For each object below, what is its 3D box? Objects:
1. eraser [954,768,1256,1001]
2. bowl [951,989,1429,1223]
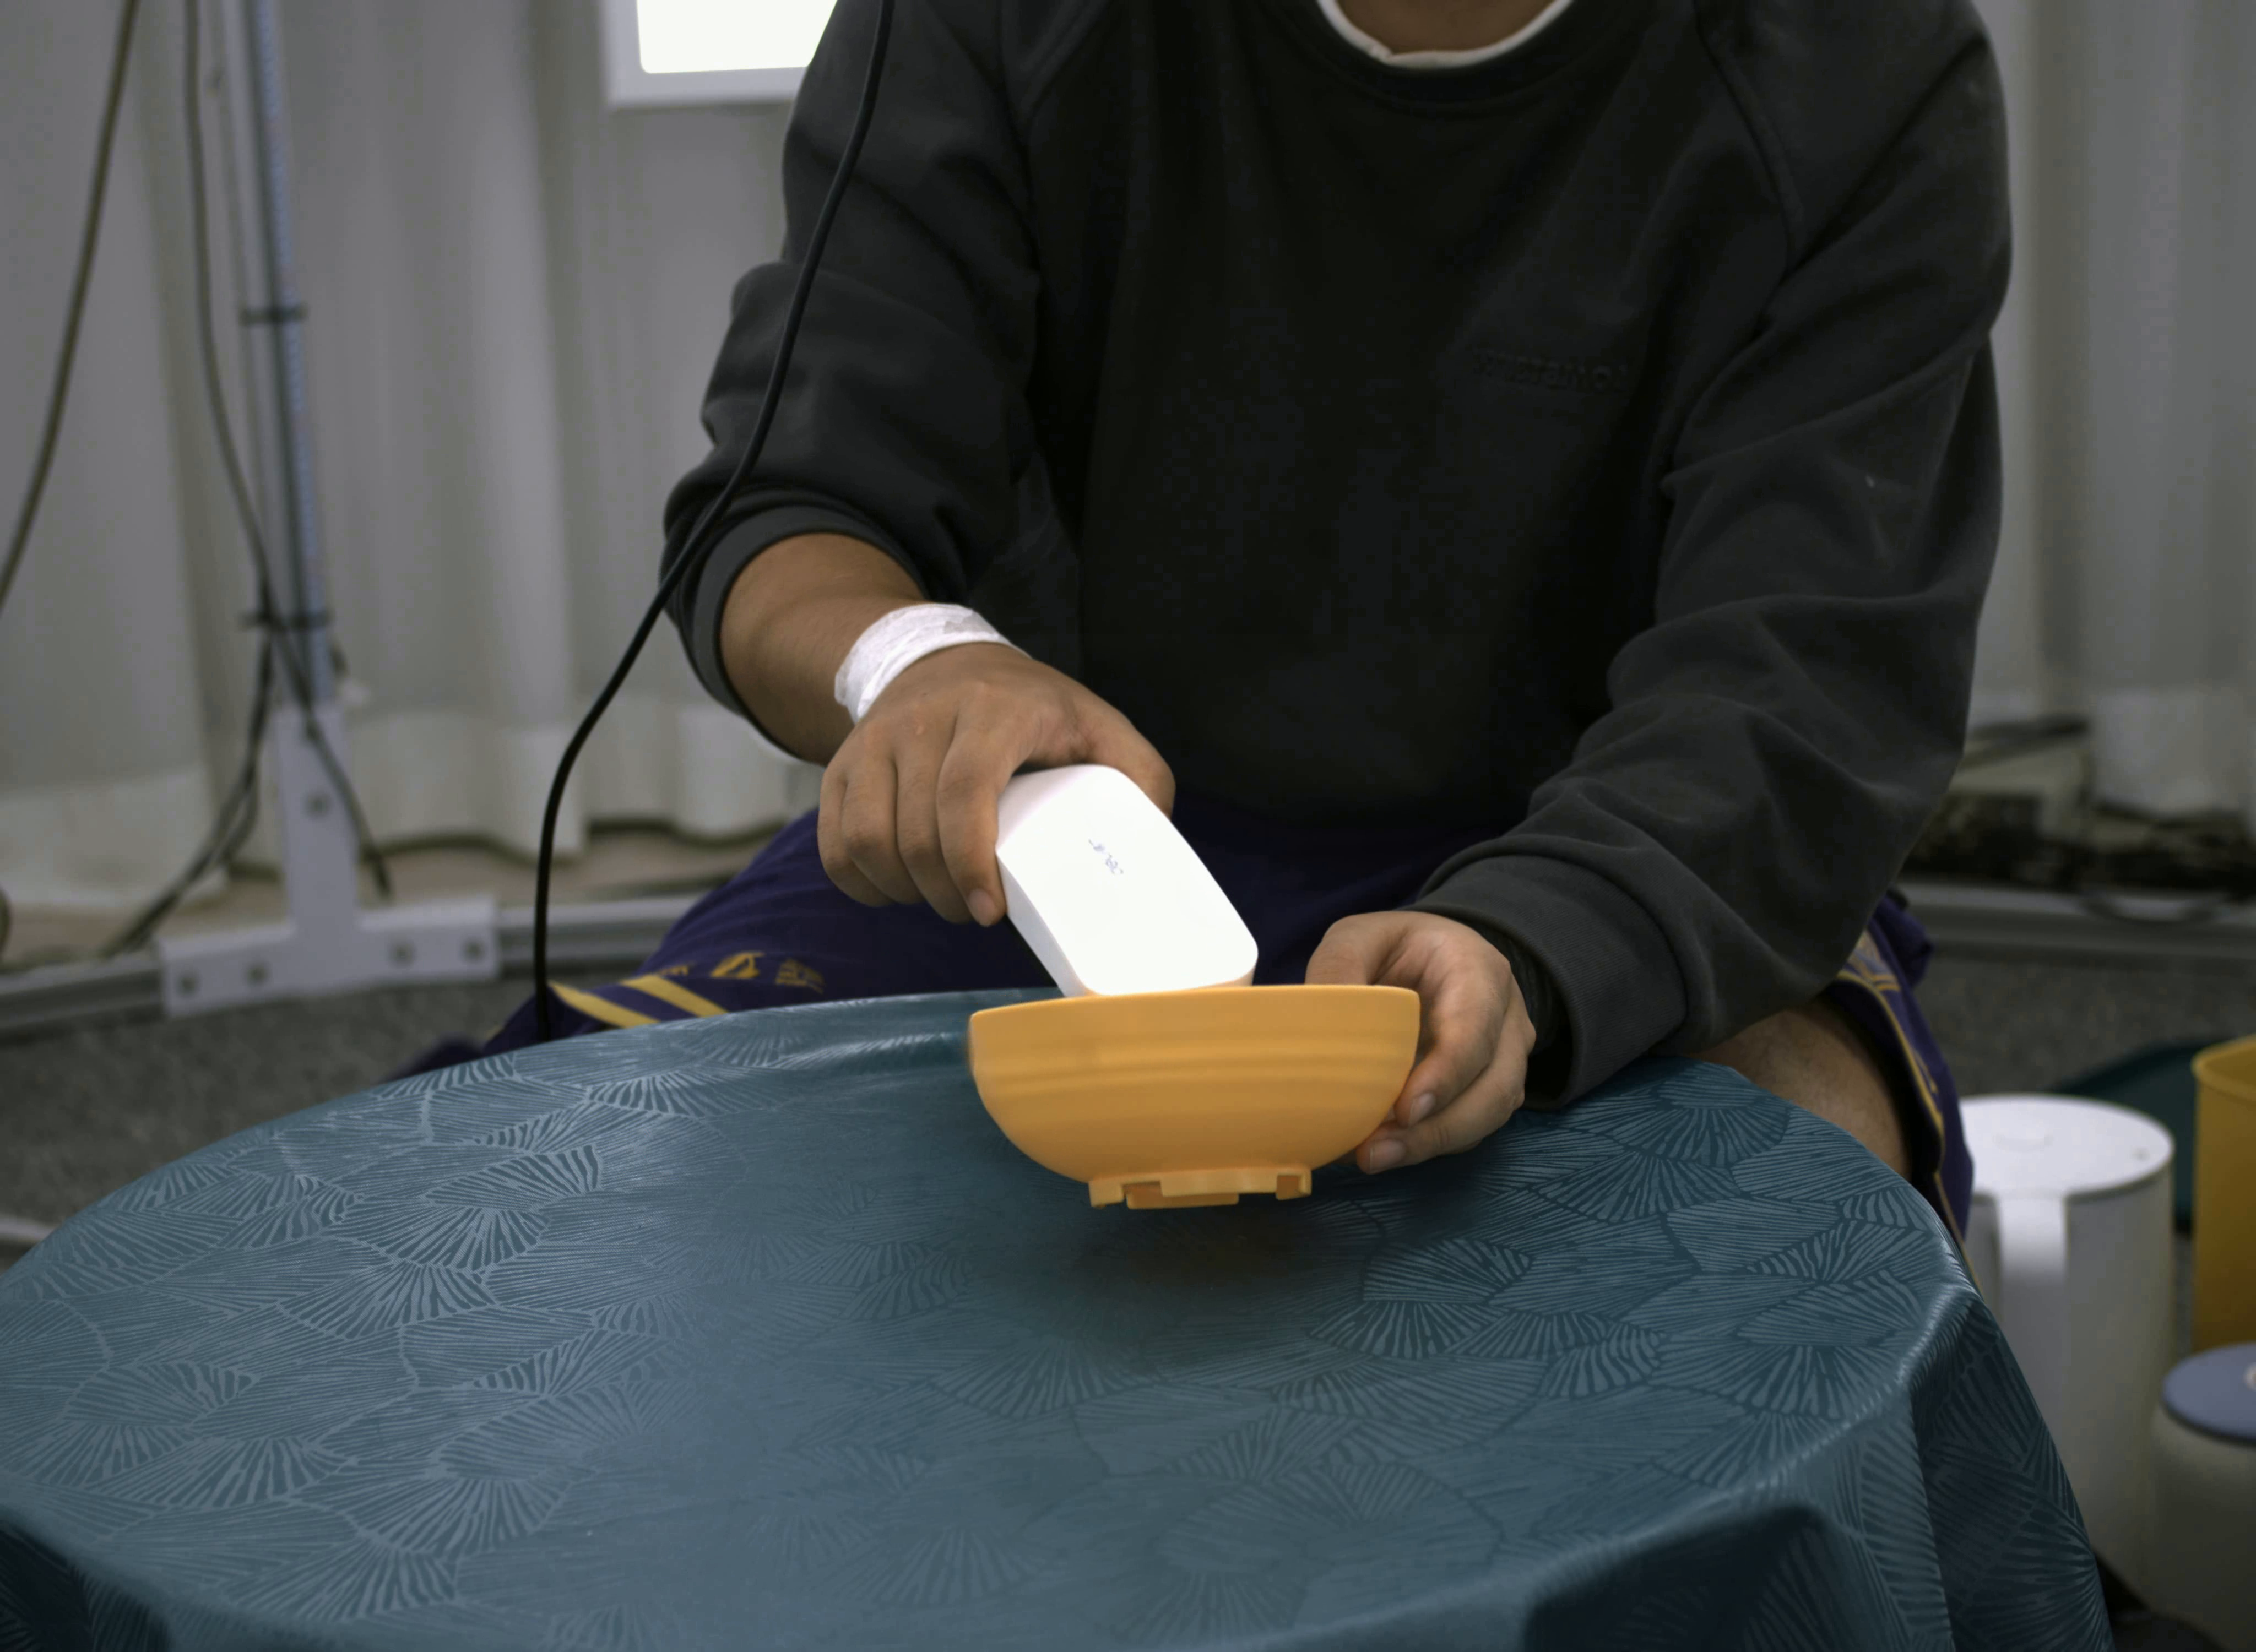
[{"bbox_3d":[-0.008,0.024,1.747,0.063,0.034,0.133,-10,36,-20],"label":"eraser"},{"bbox_3d":[0.019,0.086,1.645,0.145,0.060,0.144,-1,-10,-1],"label":"bowl"}]
